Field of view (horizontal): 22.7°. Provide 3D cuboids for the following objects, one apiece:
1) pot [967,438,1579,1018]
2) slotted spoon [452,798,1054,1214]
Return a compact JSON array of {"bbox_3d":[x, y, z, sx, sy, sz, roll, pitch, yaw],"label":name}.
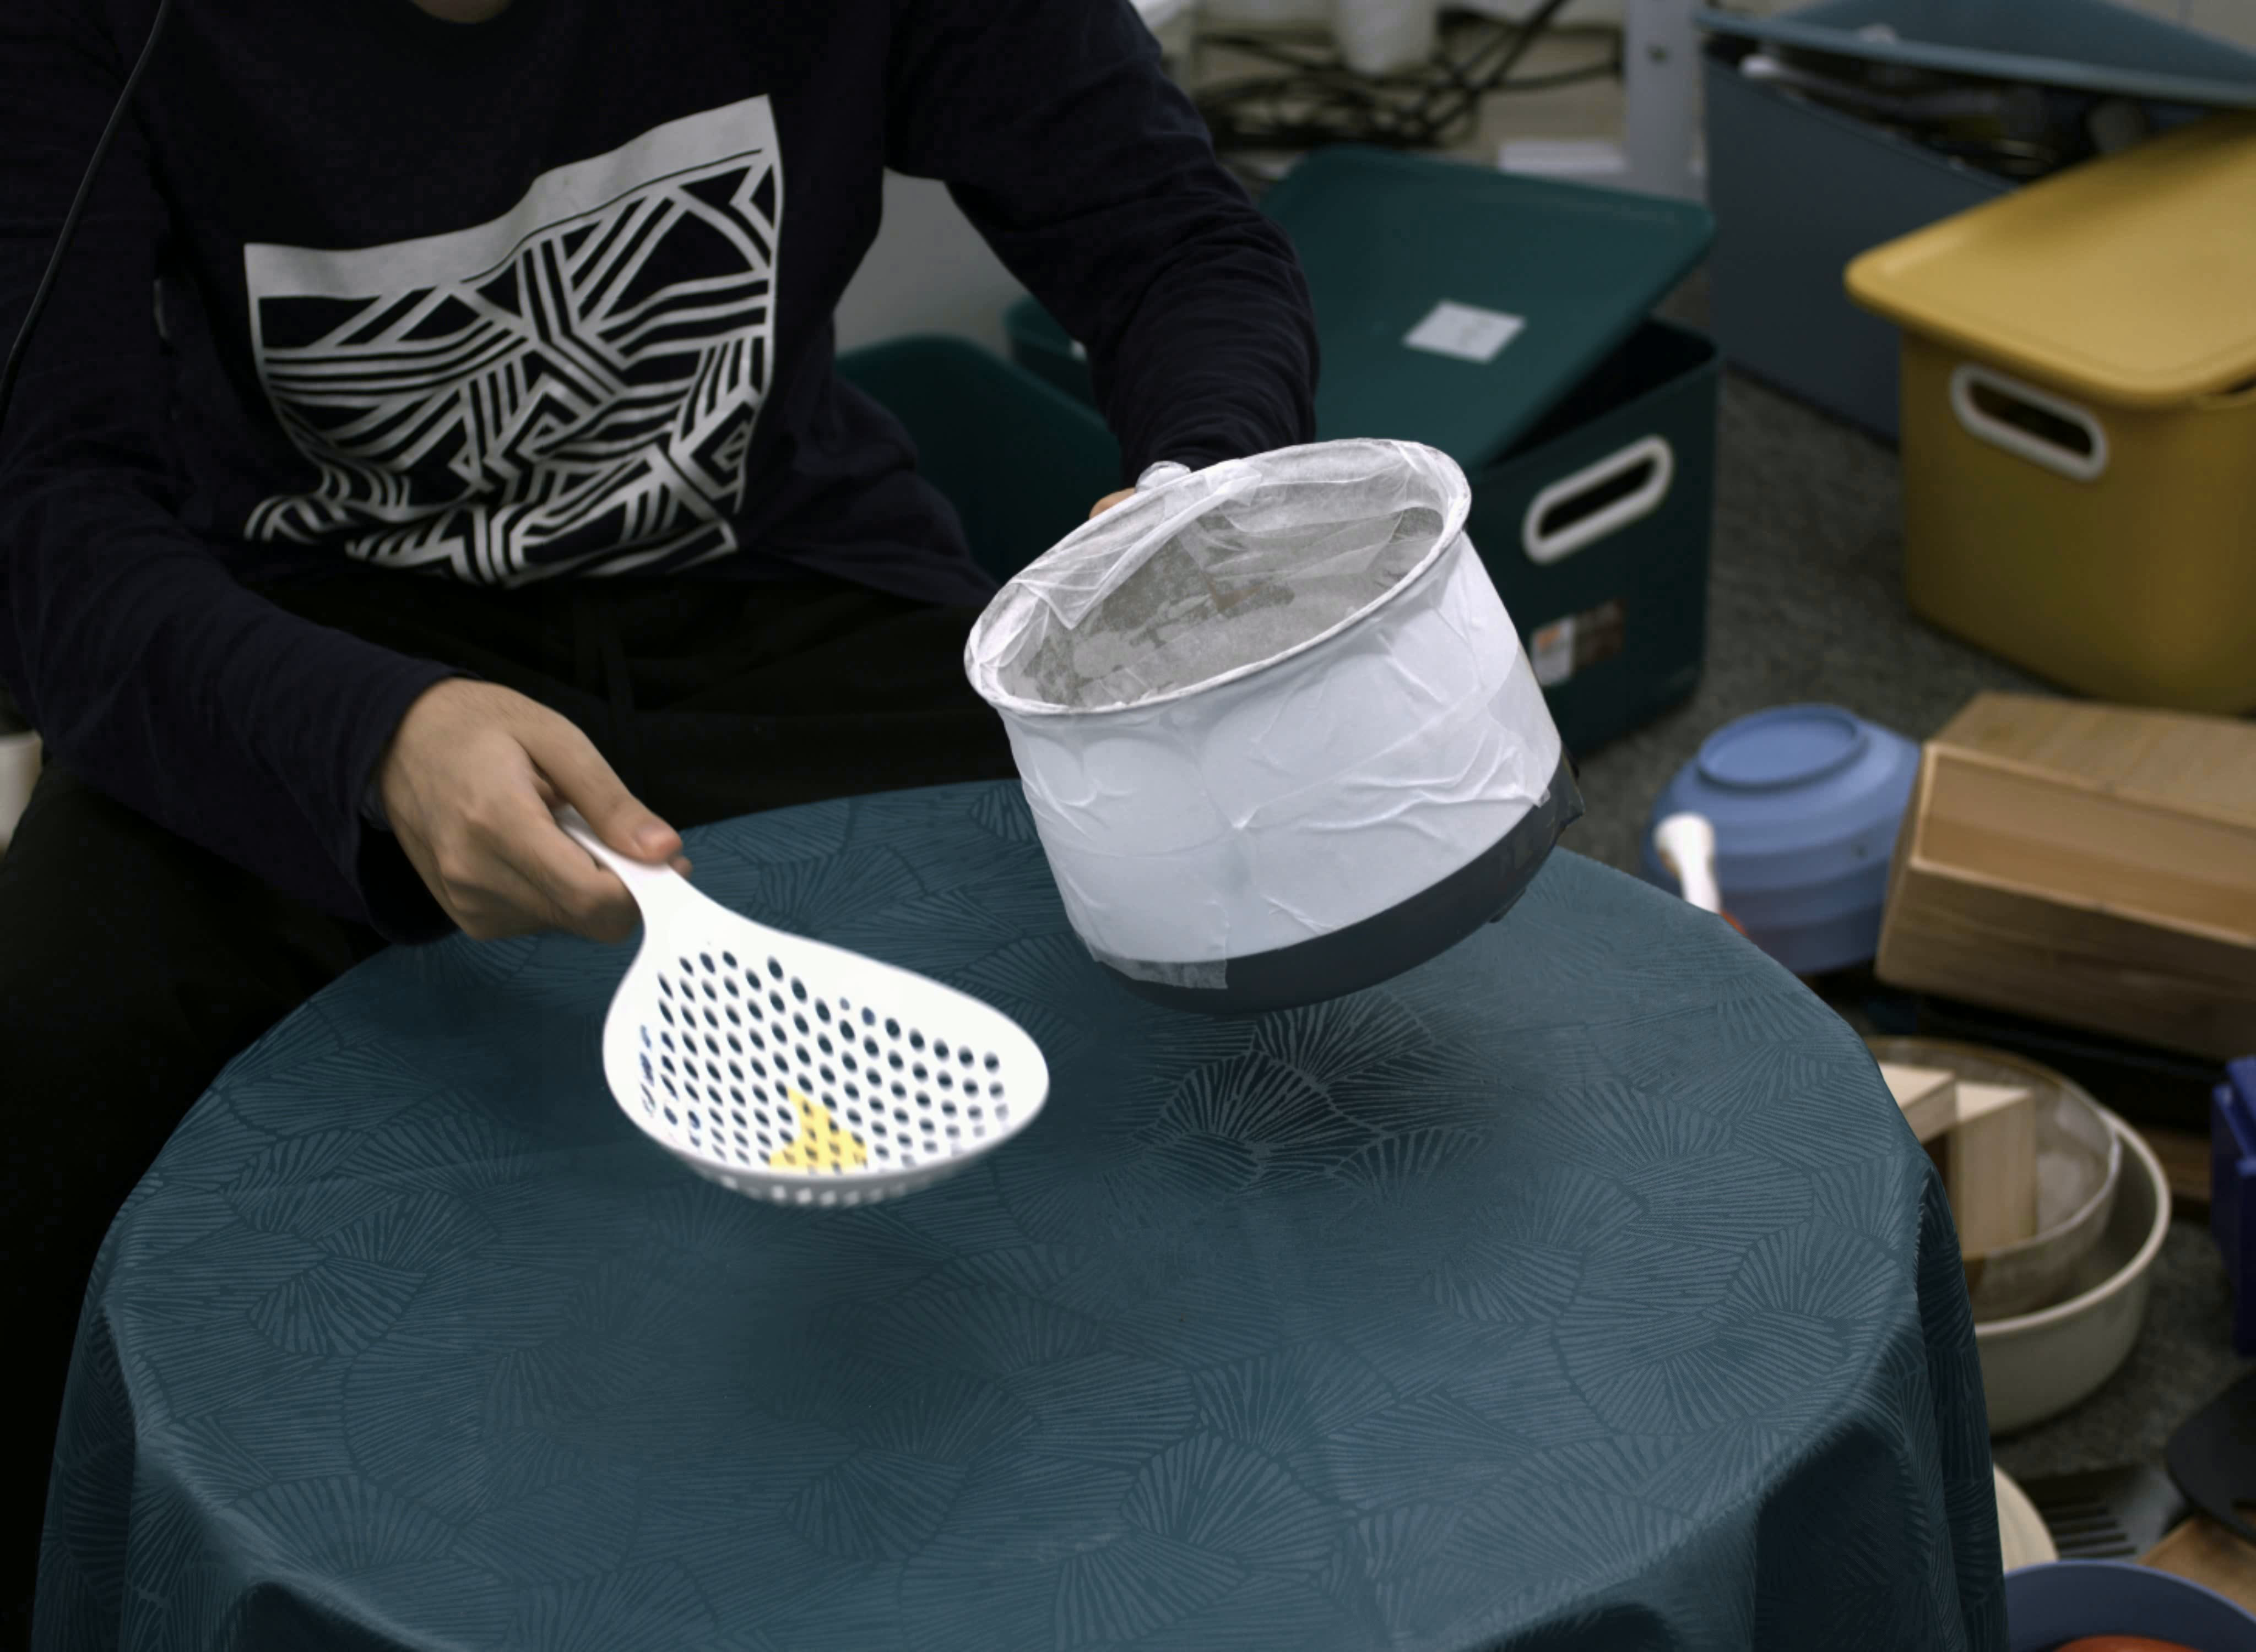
[{"bbox_3d":[0.044,-0.041,1.896,0.178,0.135,0.236,-21,24,-5],"label":"pot"},{"bbox_3d":[-0.143,0.046,1.832,0.137,0.050,0.350,-10,31,-26],"label":"slotted spoon"}]
